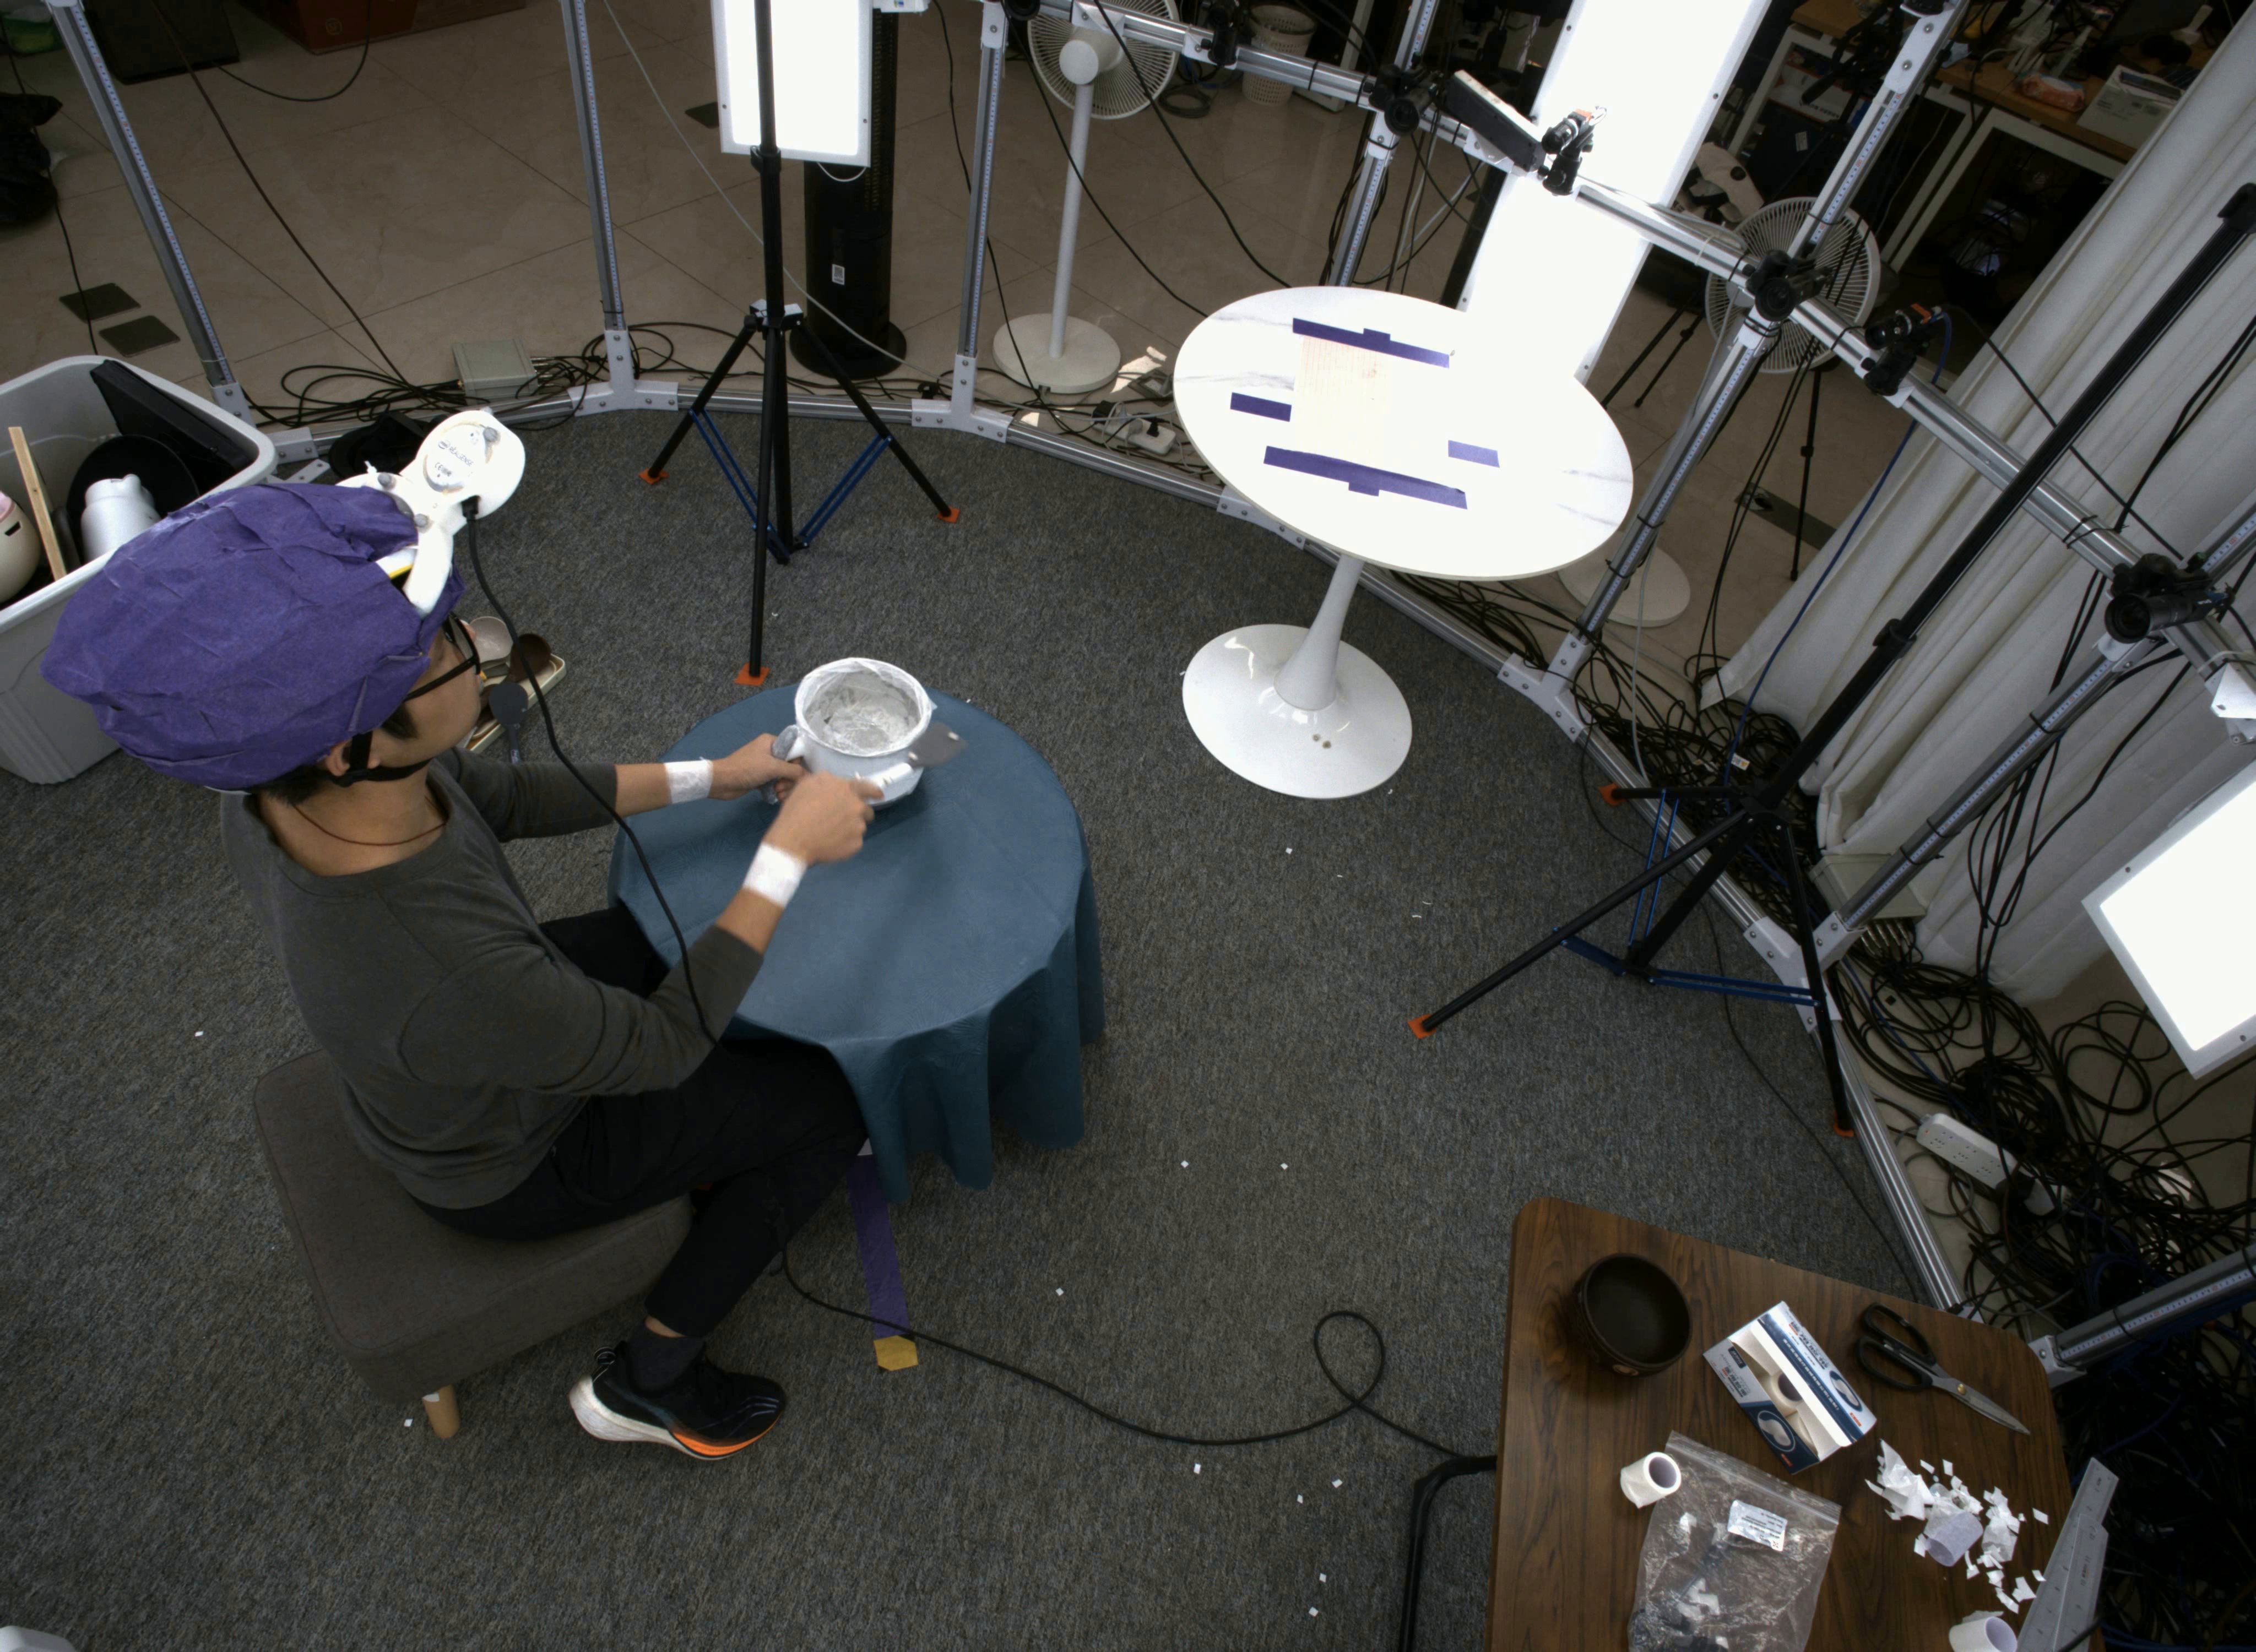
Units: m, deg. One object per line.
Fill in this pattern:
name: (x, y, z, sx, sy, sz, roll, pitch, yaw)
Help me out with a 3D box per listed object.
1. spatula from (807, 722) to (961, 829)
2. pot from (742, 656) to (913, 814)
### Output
spatula: (-0.293, -0.063, 1.571, 0.058, 0.032, 0.287, 37, 31, 6)
pot: (-0.403, -0.107, 1.726, 0.235, 0.139, 0.174, -27, 63, -32)
